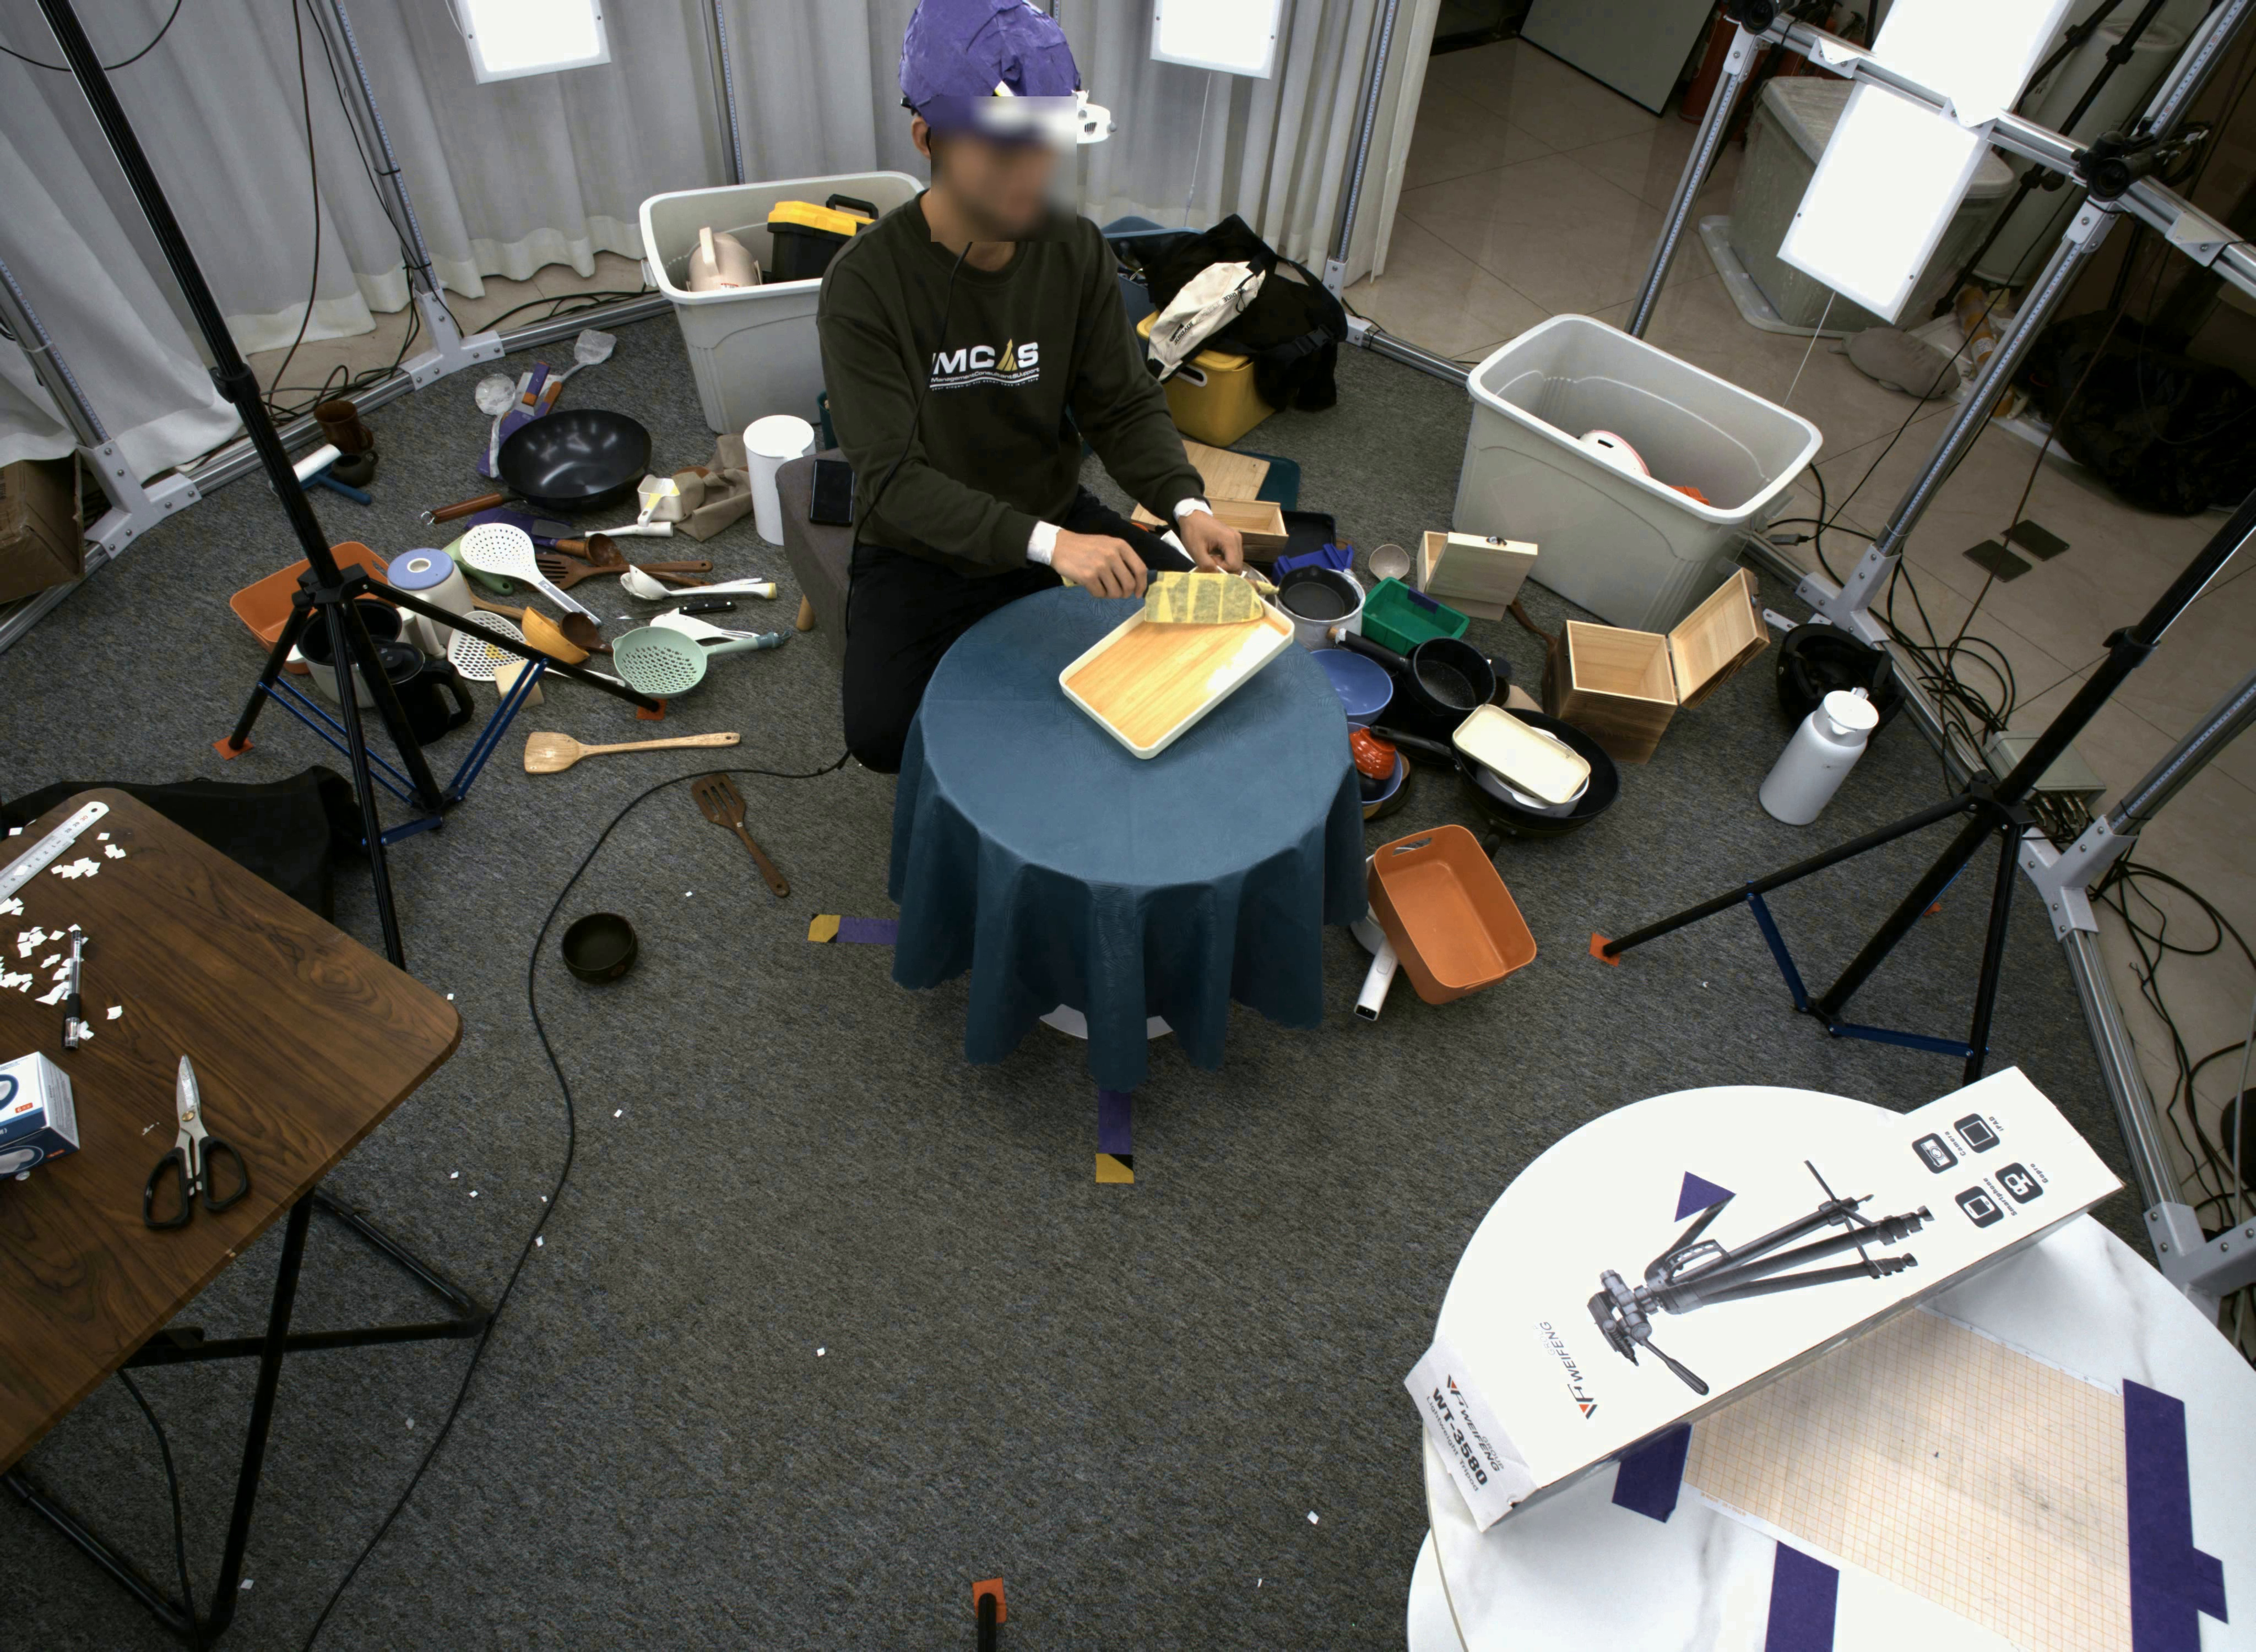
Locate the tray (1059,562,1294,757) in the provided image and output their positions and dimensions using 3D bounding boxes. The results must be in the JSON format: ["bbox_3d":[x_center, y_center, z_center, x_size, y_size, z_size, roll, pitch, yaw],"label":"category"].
[{"bbox_3d":[0.069,-0.240,1.819,0.302,0.027,0.195,-39,60,-16],"label":"tray"}]

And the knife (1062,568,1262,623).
[{"bbox_3d":[0.049,-0.328,1.817,0.289,0.080,0.027,4,17,-6],"label":"knife"}]
